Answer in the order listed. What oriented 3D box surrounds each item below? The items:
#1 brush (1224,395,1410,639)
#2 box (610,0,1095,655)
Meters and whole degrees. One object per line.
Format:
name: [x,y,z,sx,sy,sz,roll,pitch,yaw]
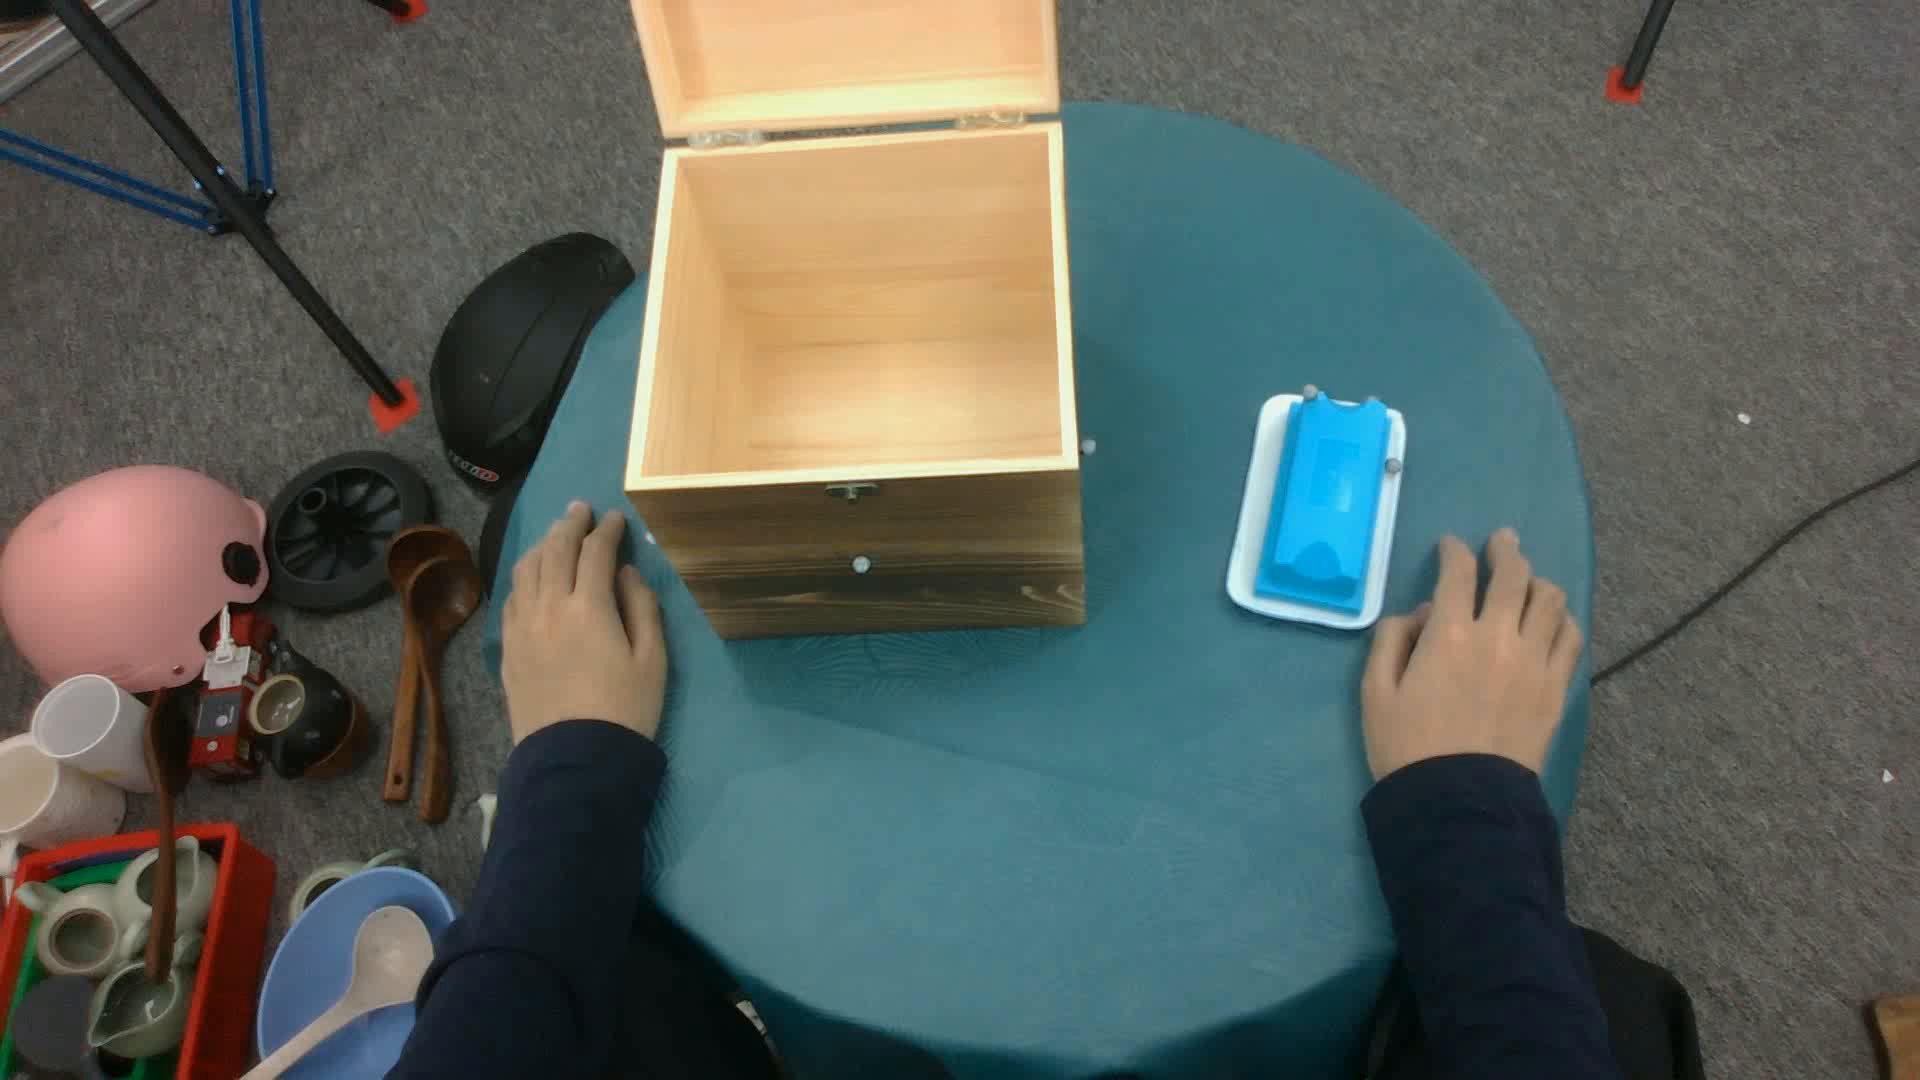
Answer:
brush: [0.194,-0.020,0.738,0.084,0.056,0.144,10,62,16]
box: [-0.055,-0.158,0.674,0.208,0.374,0.323,-5,62,6]
